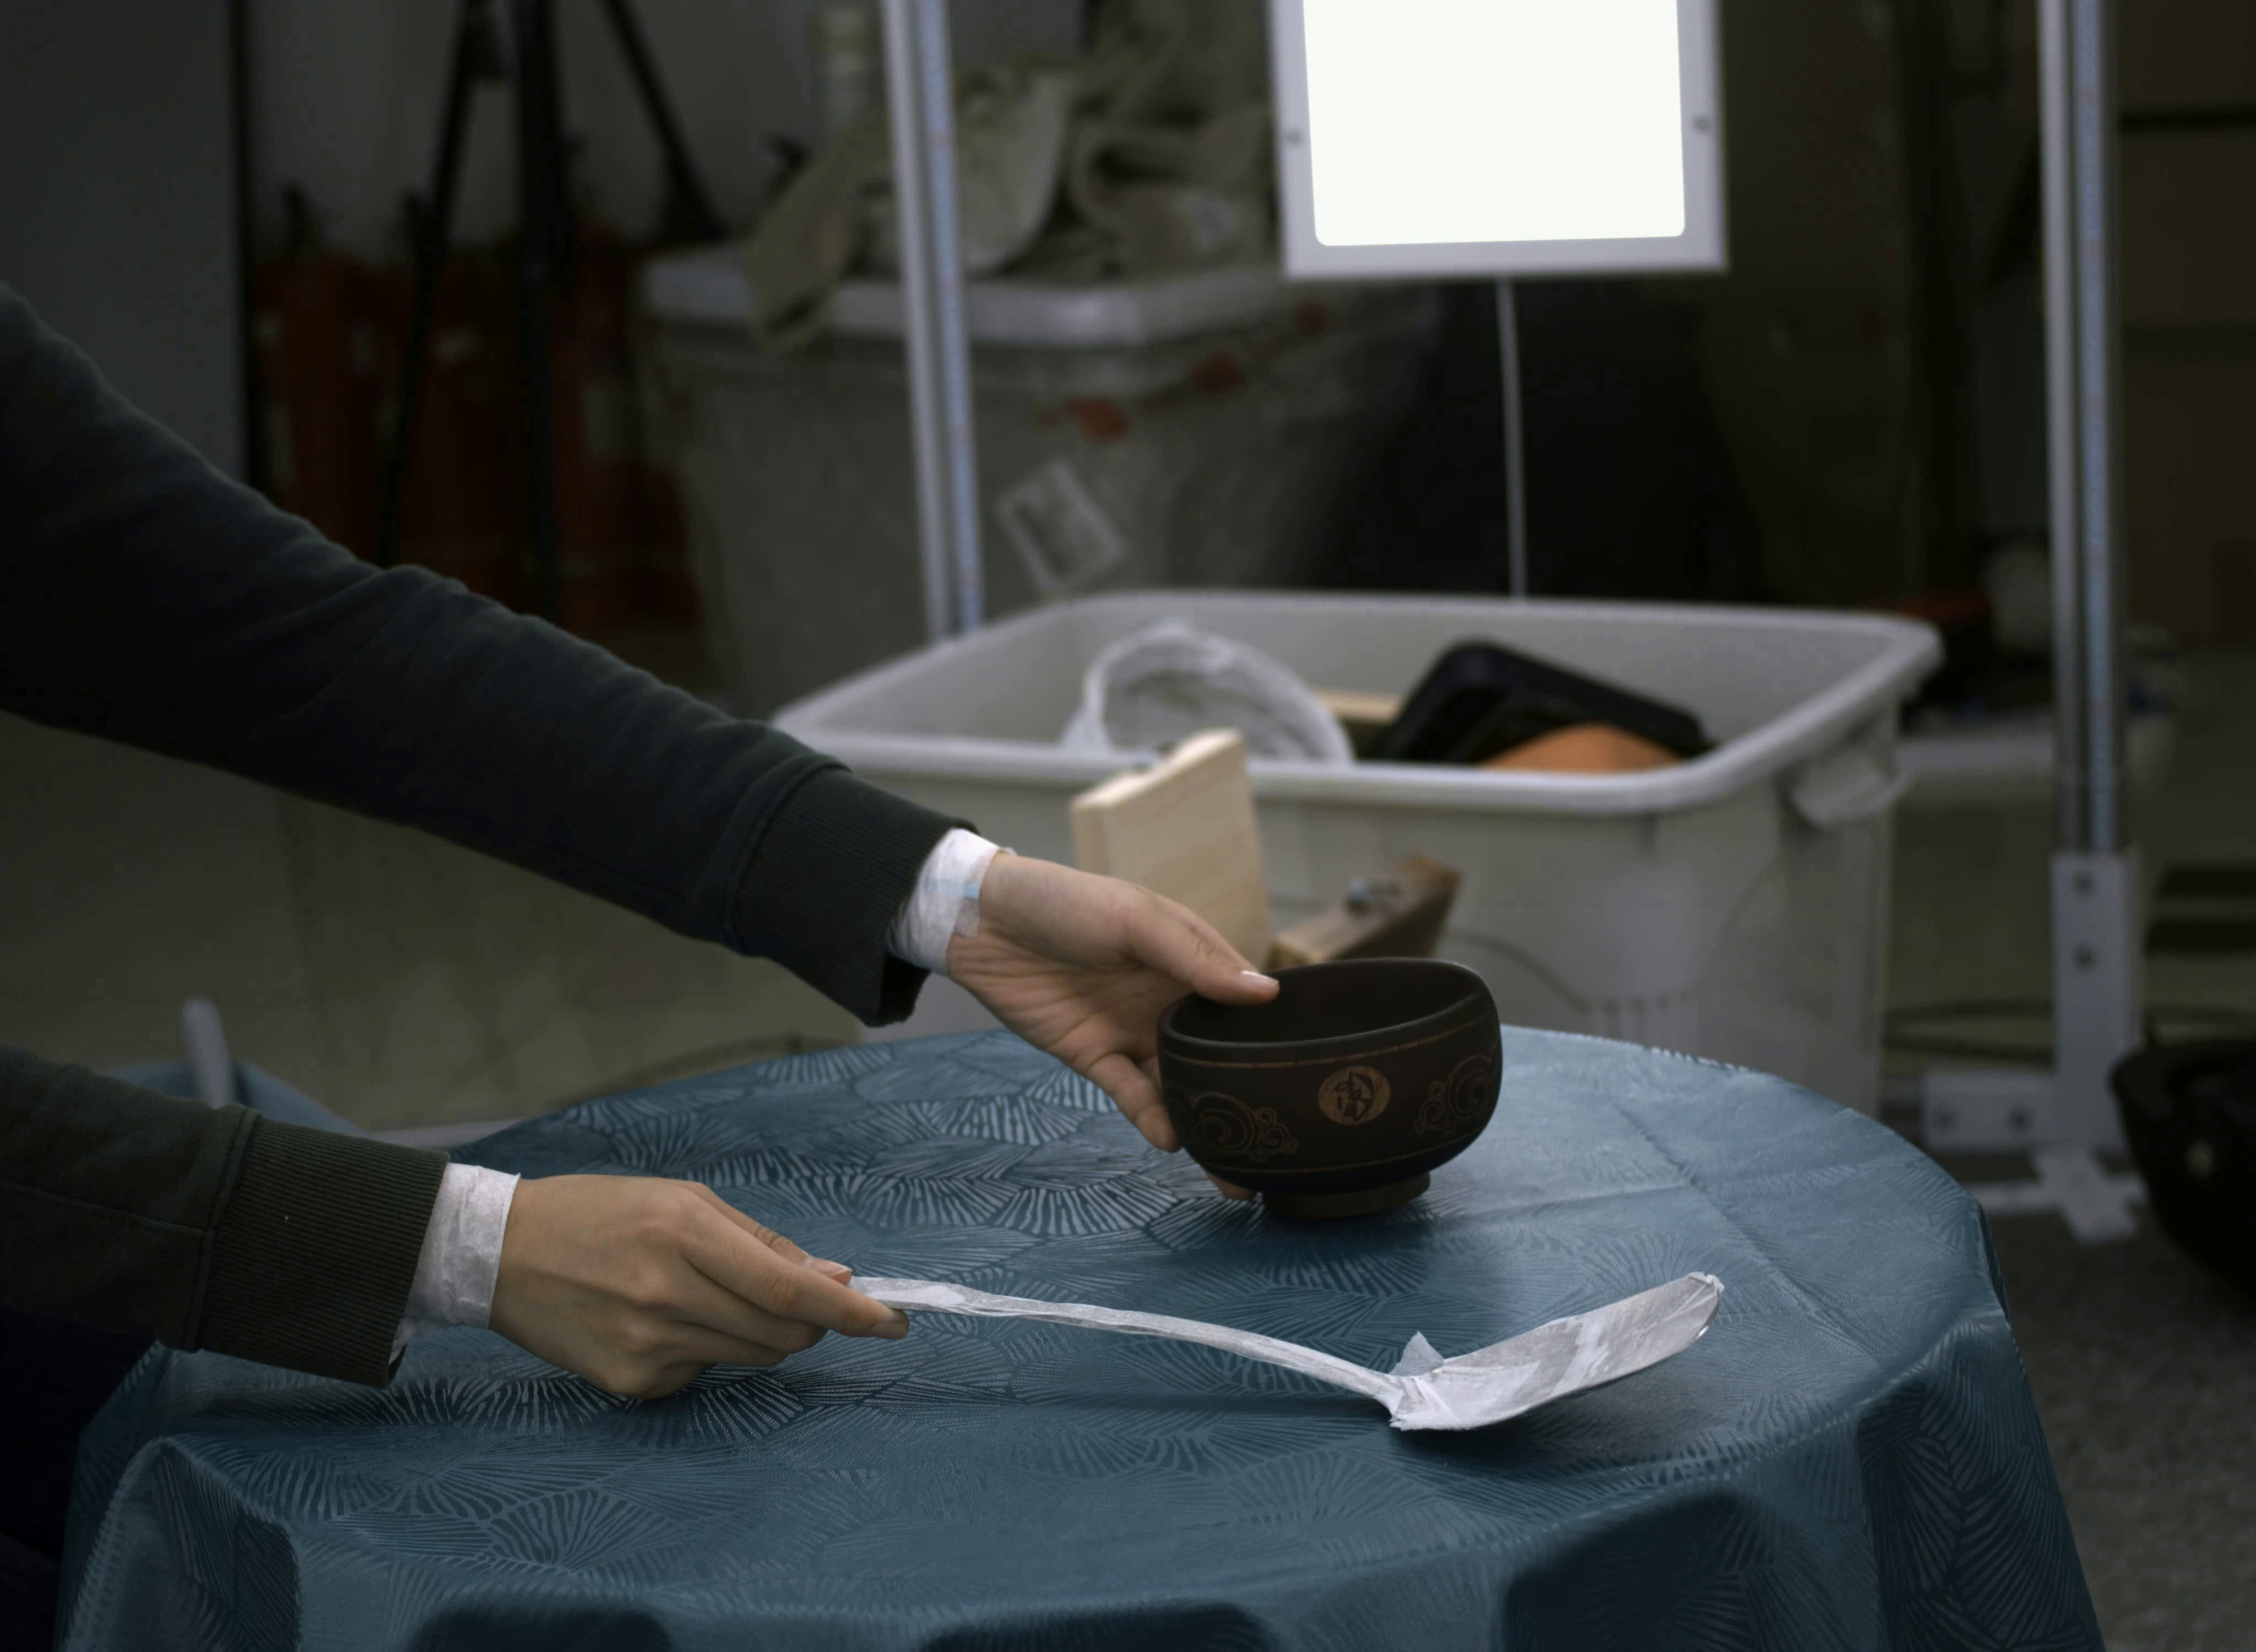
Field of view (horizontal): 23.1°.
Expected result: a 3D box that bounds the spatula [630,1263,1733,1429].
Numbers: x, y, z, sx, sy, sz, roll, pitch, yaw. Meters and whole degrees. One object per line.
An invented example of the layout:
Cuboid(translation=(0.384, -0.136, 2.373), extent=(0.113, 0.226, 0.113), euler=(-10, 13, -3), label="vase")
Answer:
Cuboid(translation=(0.005, 0.148, 1.694), extent=(0.370, 0.045, 0.097), euler=(5, 18, 22), label="spatula")

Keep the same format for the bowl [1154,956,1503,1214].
Cuboid(translation=(0.070, 0.090, 1.859), extent=(0.118, 0.070, 0.118), euler=(-8, 9, 0), label="bowl")
